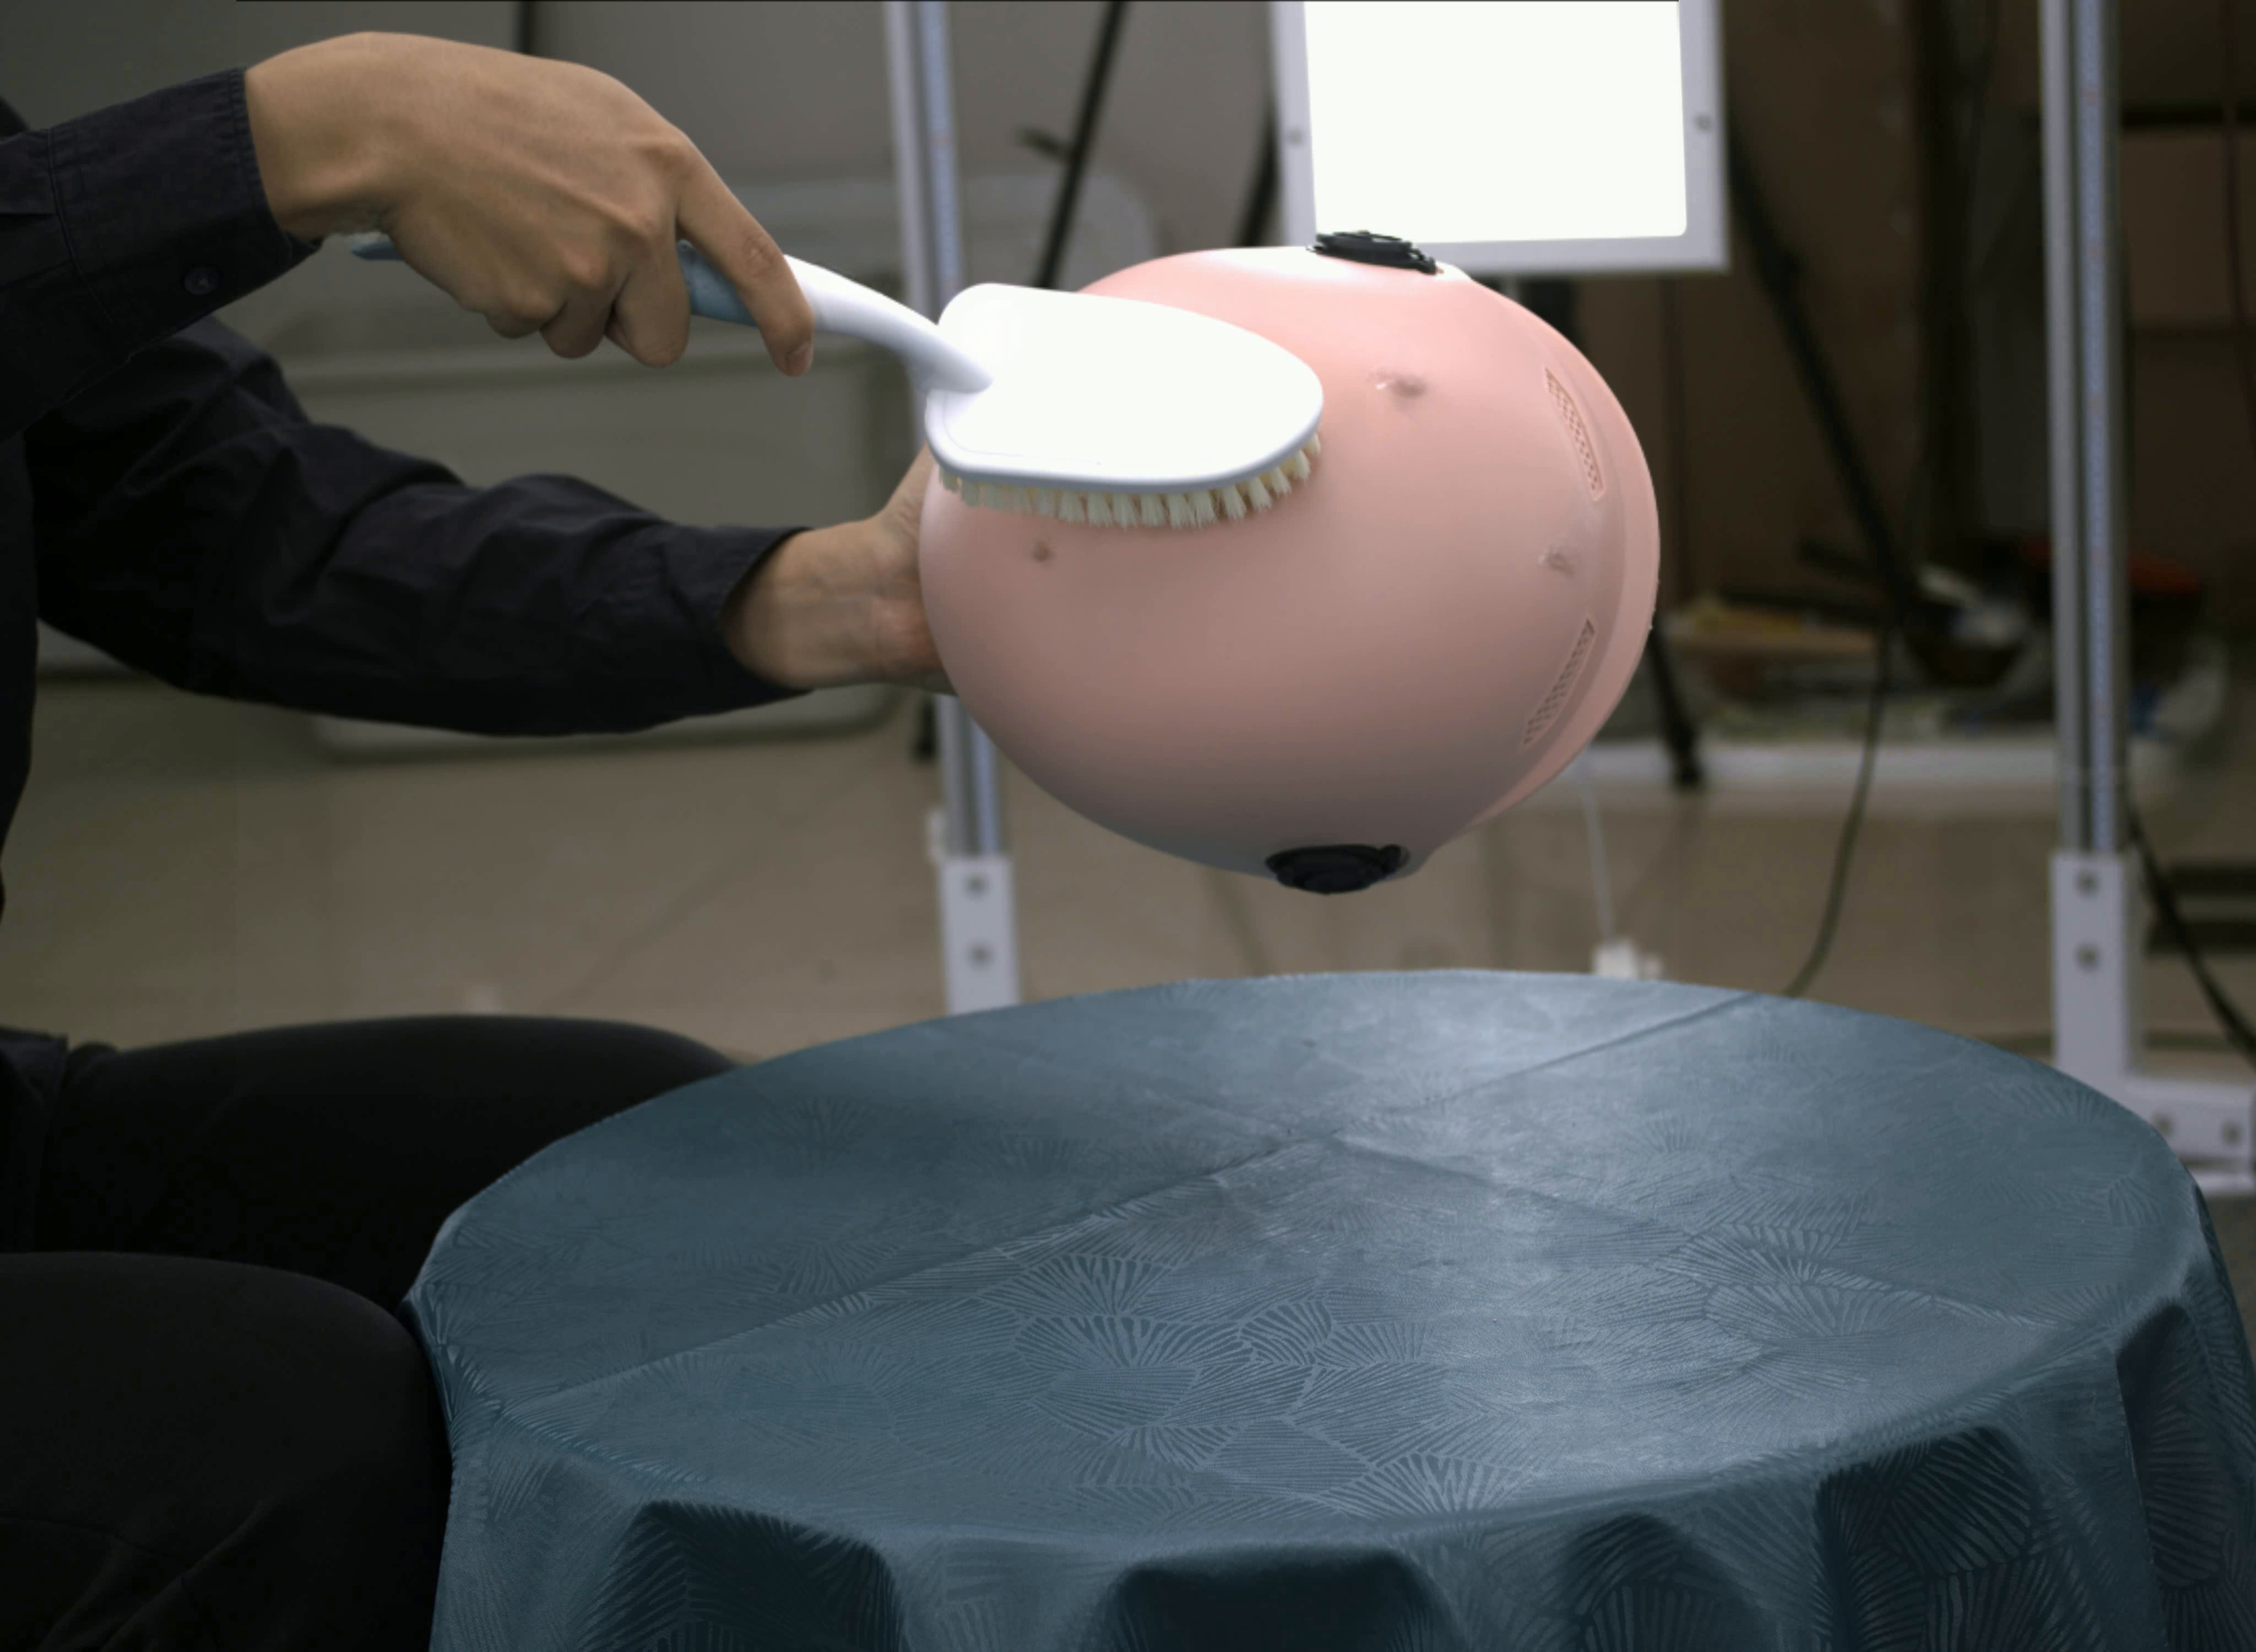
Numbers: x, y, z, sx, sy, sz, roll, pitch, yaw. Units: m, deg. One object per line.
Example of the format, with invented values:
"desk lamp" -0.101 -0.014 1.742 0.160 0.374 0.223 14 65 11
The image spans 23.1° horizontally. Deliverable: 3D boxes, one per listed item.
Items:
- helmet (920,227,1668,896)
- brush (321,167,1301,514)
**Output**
"helmet" 0.037 -0.097 1.889 0.271 0.234 0.155 1 -5 35
"brush" -0.102 -0.161 1.785 0.322 0.085 0.083 11 35 -8
